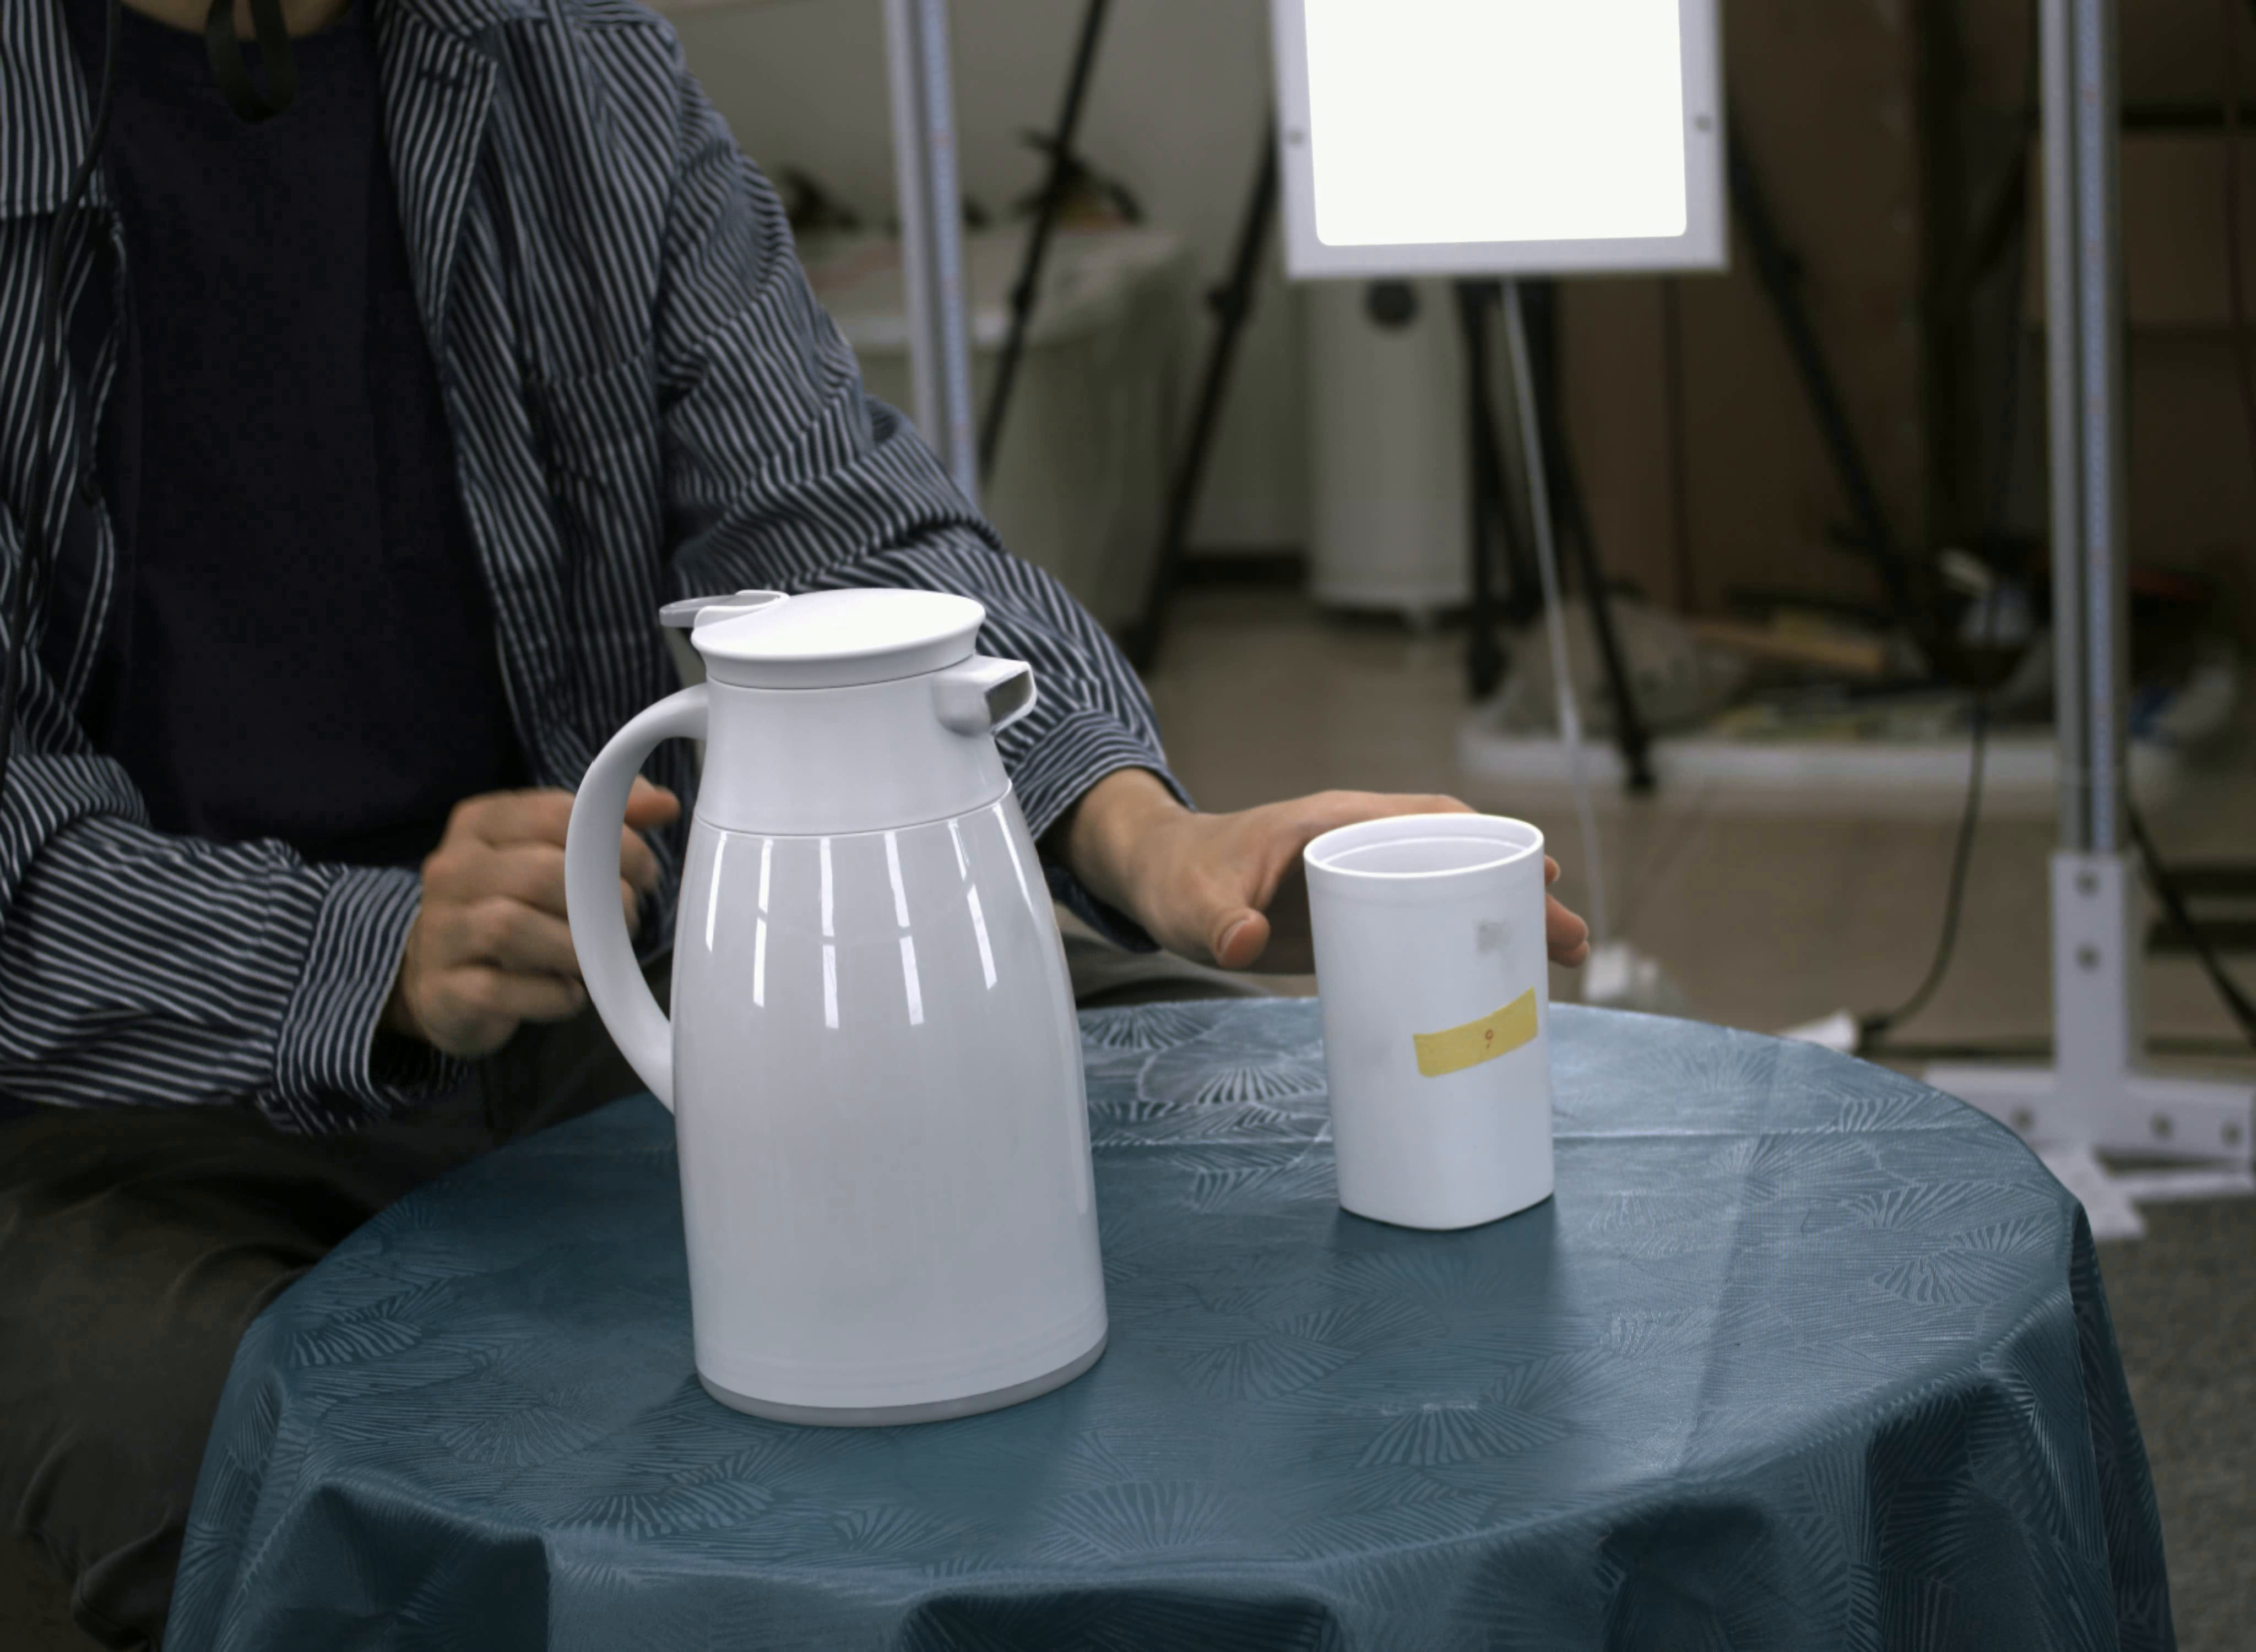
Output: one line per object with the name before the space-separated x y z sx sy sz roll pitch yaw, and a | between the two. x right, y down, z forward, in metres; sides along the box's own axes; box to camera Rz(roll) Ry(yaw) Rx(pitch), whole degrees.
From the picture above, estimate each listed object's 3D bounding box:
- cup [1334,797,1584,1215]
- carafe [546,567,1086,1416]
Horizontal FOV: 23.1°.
cup | 0.114 0.060 1.847 0.081 0.126 0.081 -5 14 0
carafe | -0.101 0.044 1.724 0.170 0.249 0.130 3 17 20
